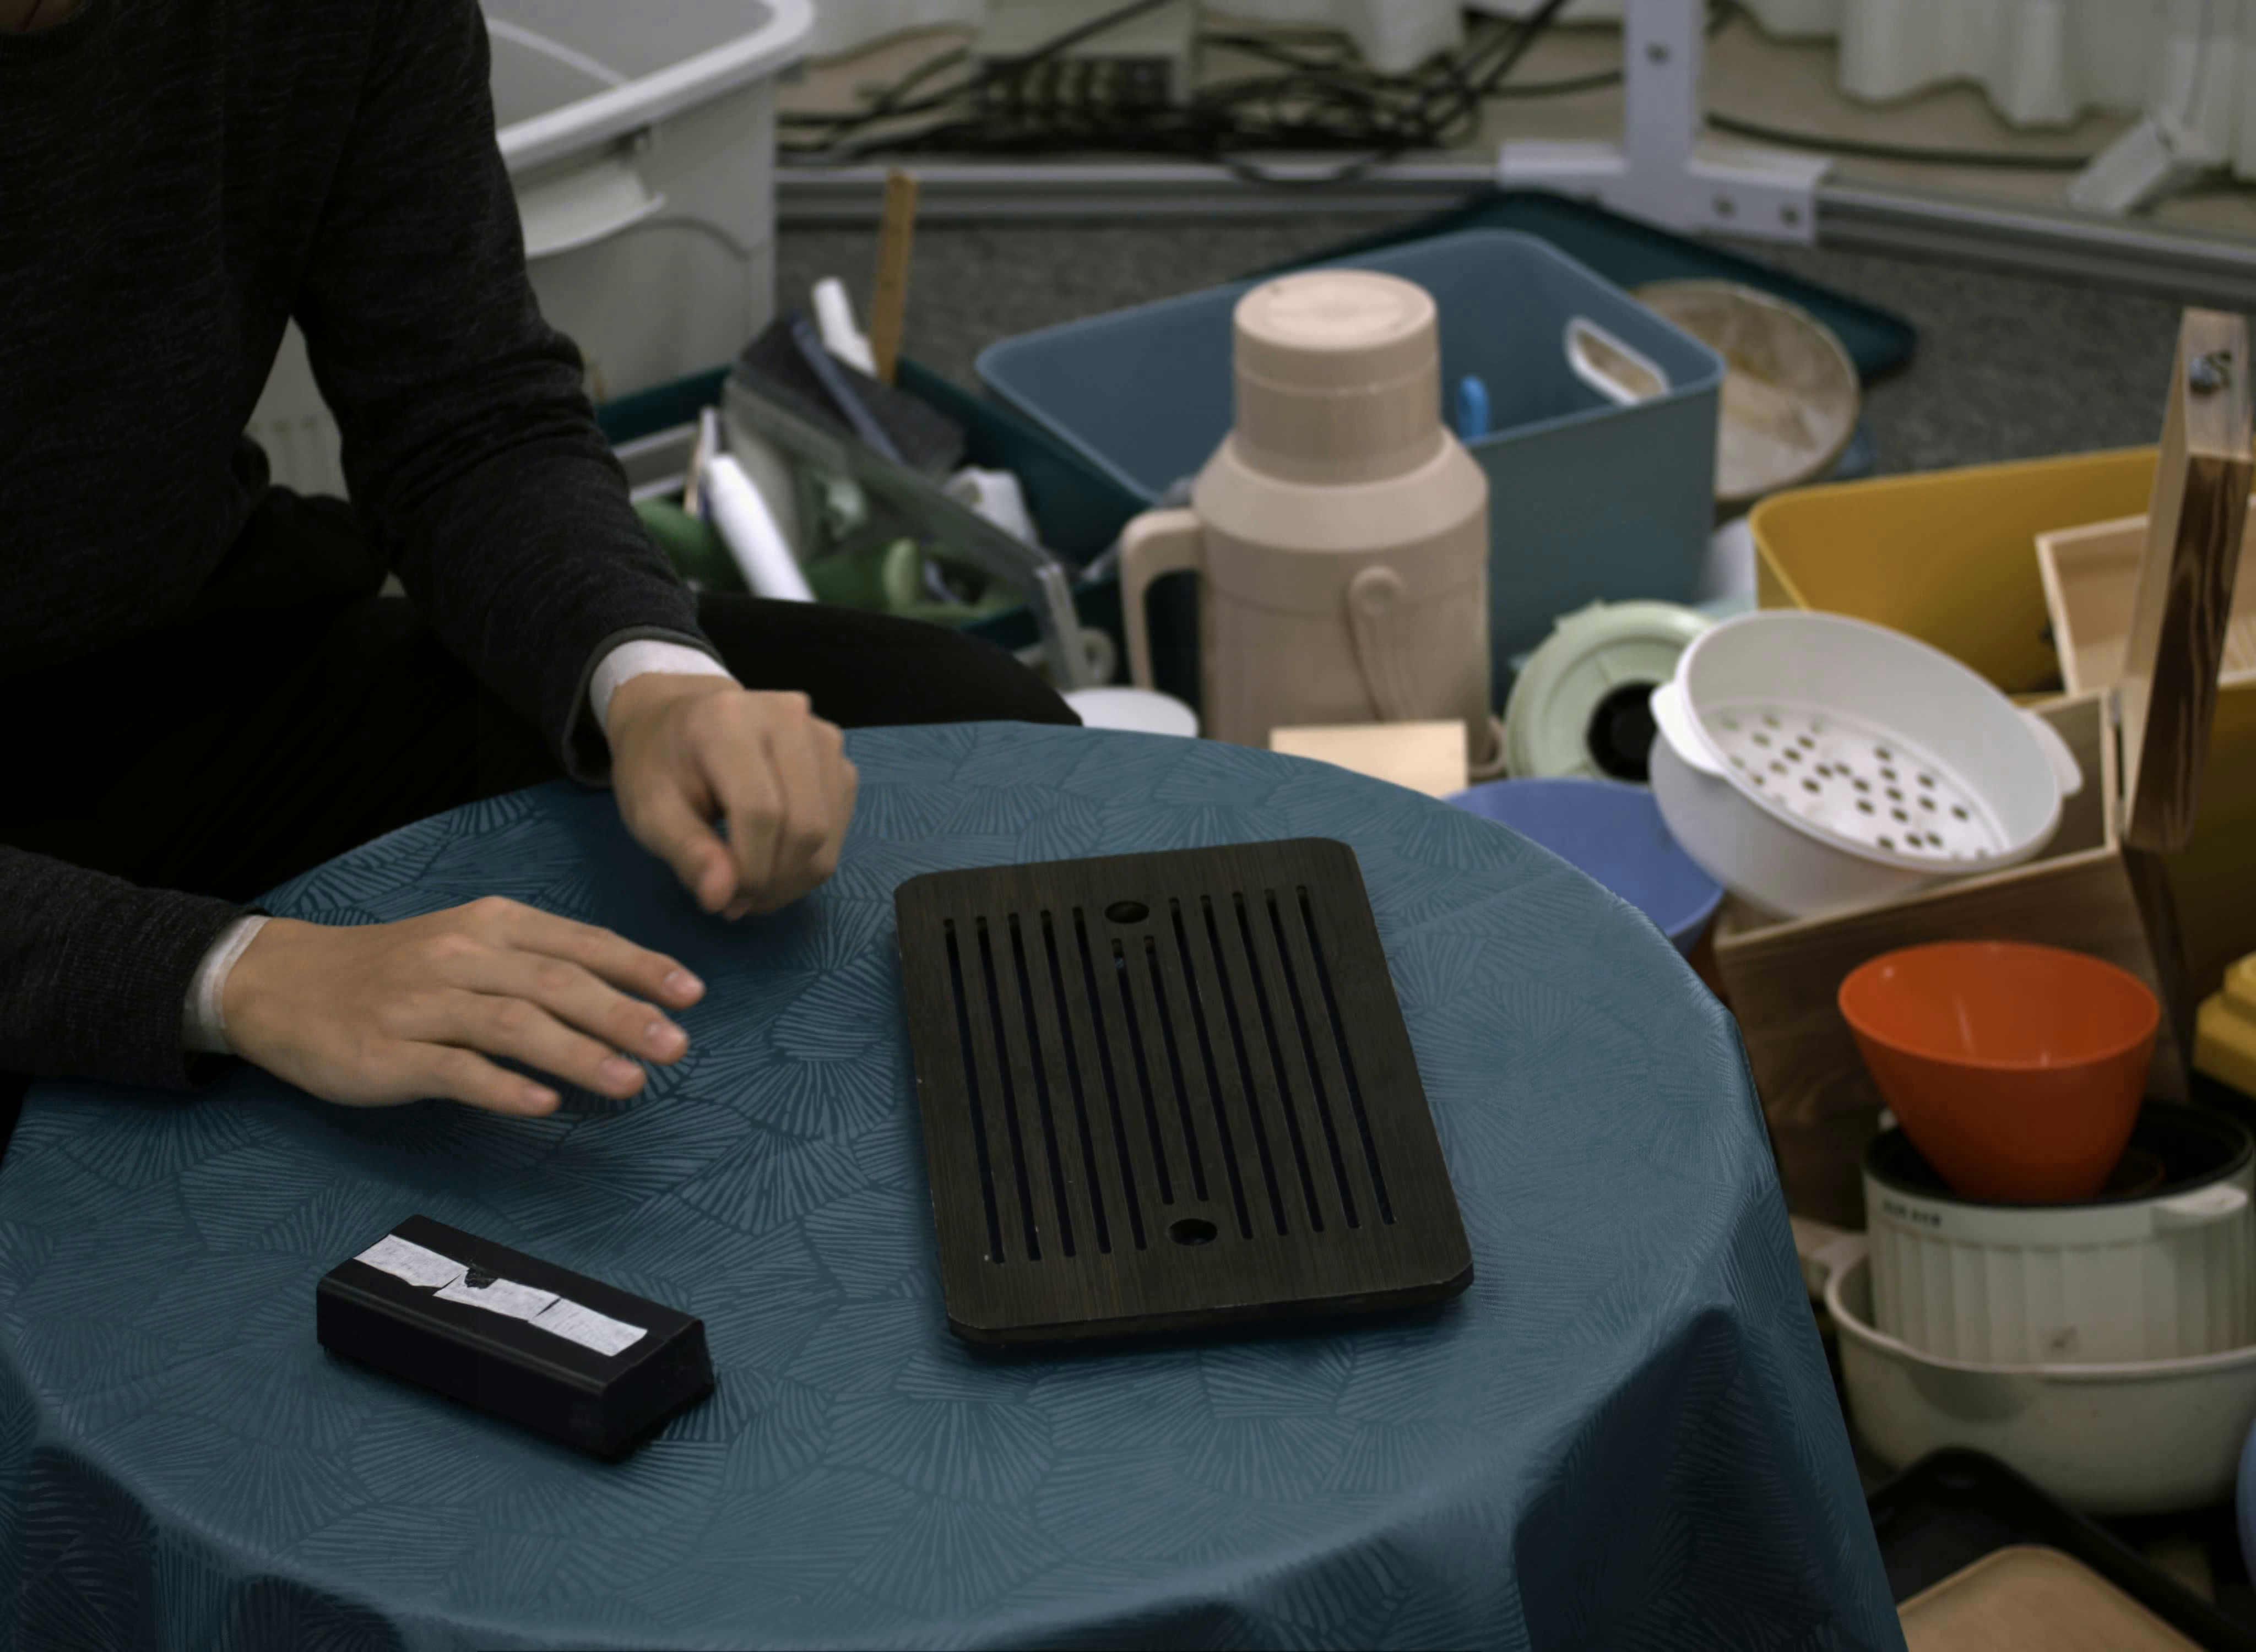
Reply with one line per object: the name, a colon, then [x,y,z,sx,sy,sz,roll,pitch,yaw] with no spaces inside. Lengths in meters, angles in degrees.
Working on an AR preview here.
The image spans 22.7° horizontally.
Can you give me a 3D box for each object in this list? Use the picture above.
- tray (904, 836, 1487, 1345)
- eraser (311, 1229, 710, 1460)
tray: [0.017,0.087,1.906,0.169,0.018,0.310,-5,27,-4]
eraser: [-0.194,0.163,1.771,0.125,0.030,0.054,14,29,32]
